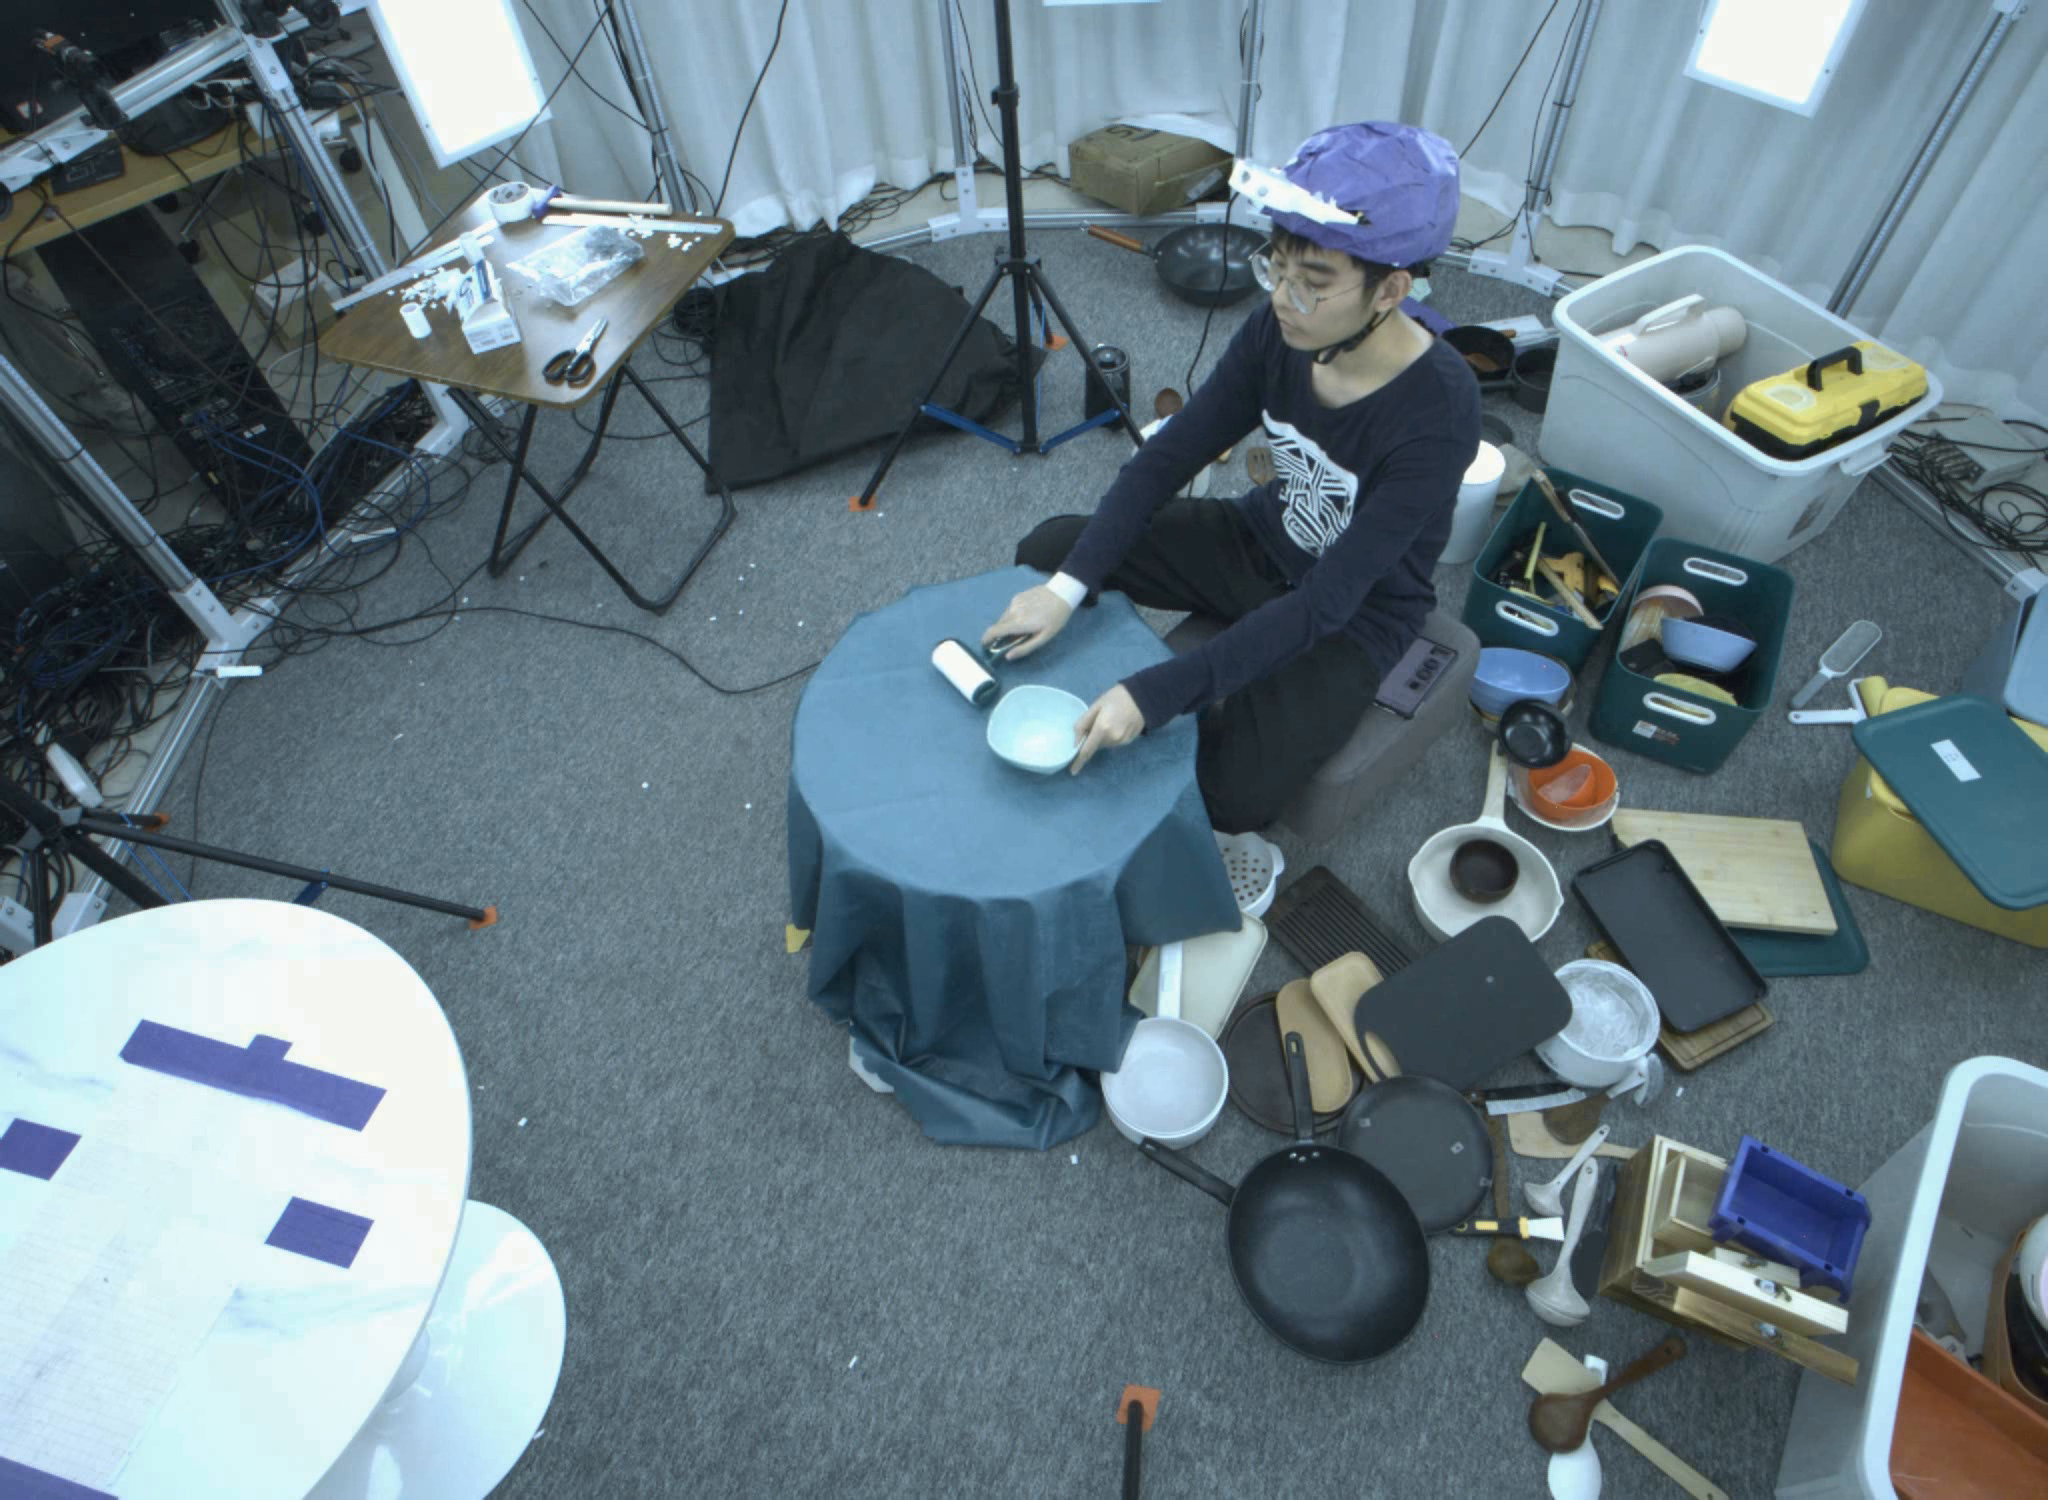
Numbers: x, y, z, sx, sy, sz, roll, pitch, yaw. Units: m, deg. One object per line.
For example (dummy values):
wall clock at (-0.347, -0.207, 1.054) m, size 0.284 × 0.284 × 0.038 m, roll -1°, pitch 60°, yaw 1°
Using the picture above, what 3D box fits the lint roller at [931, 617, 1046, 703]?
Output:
lint roller at (-0.040, -0.158, 1.866) m, size 0.181 × 0.049 × 0.132 m, roll -39°, pitch 62°, yaw -13°

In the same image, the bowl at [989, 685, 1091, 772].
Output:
bowl at (0.025, -0.020, 1.773) m, size 0.151 × 0.059 × 0.150 m, roll -1°, pitch 56°, yaw 3°
